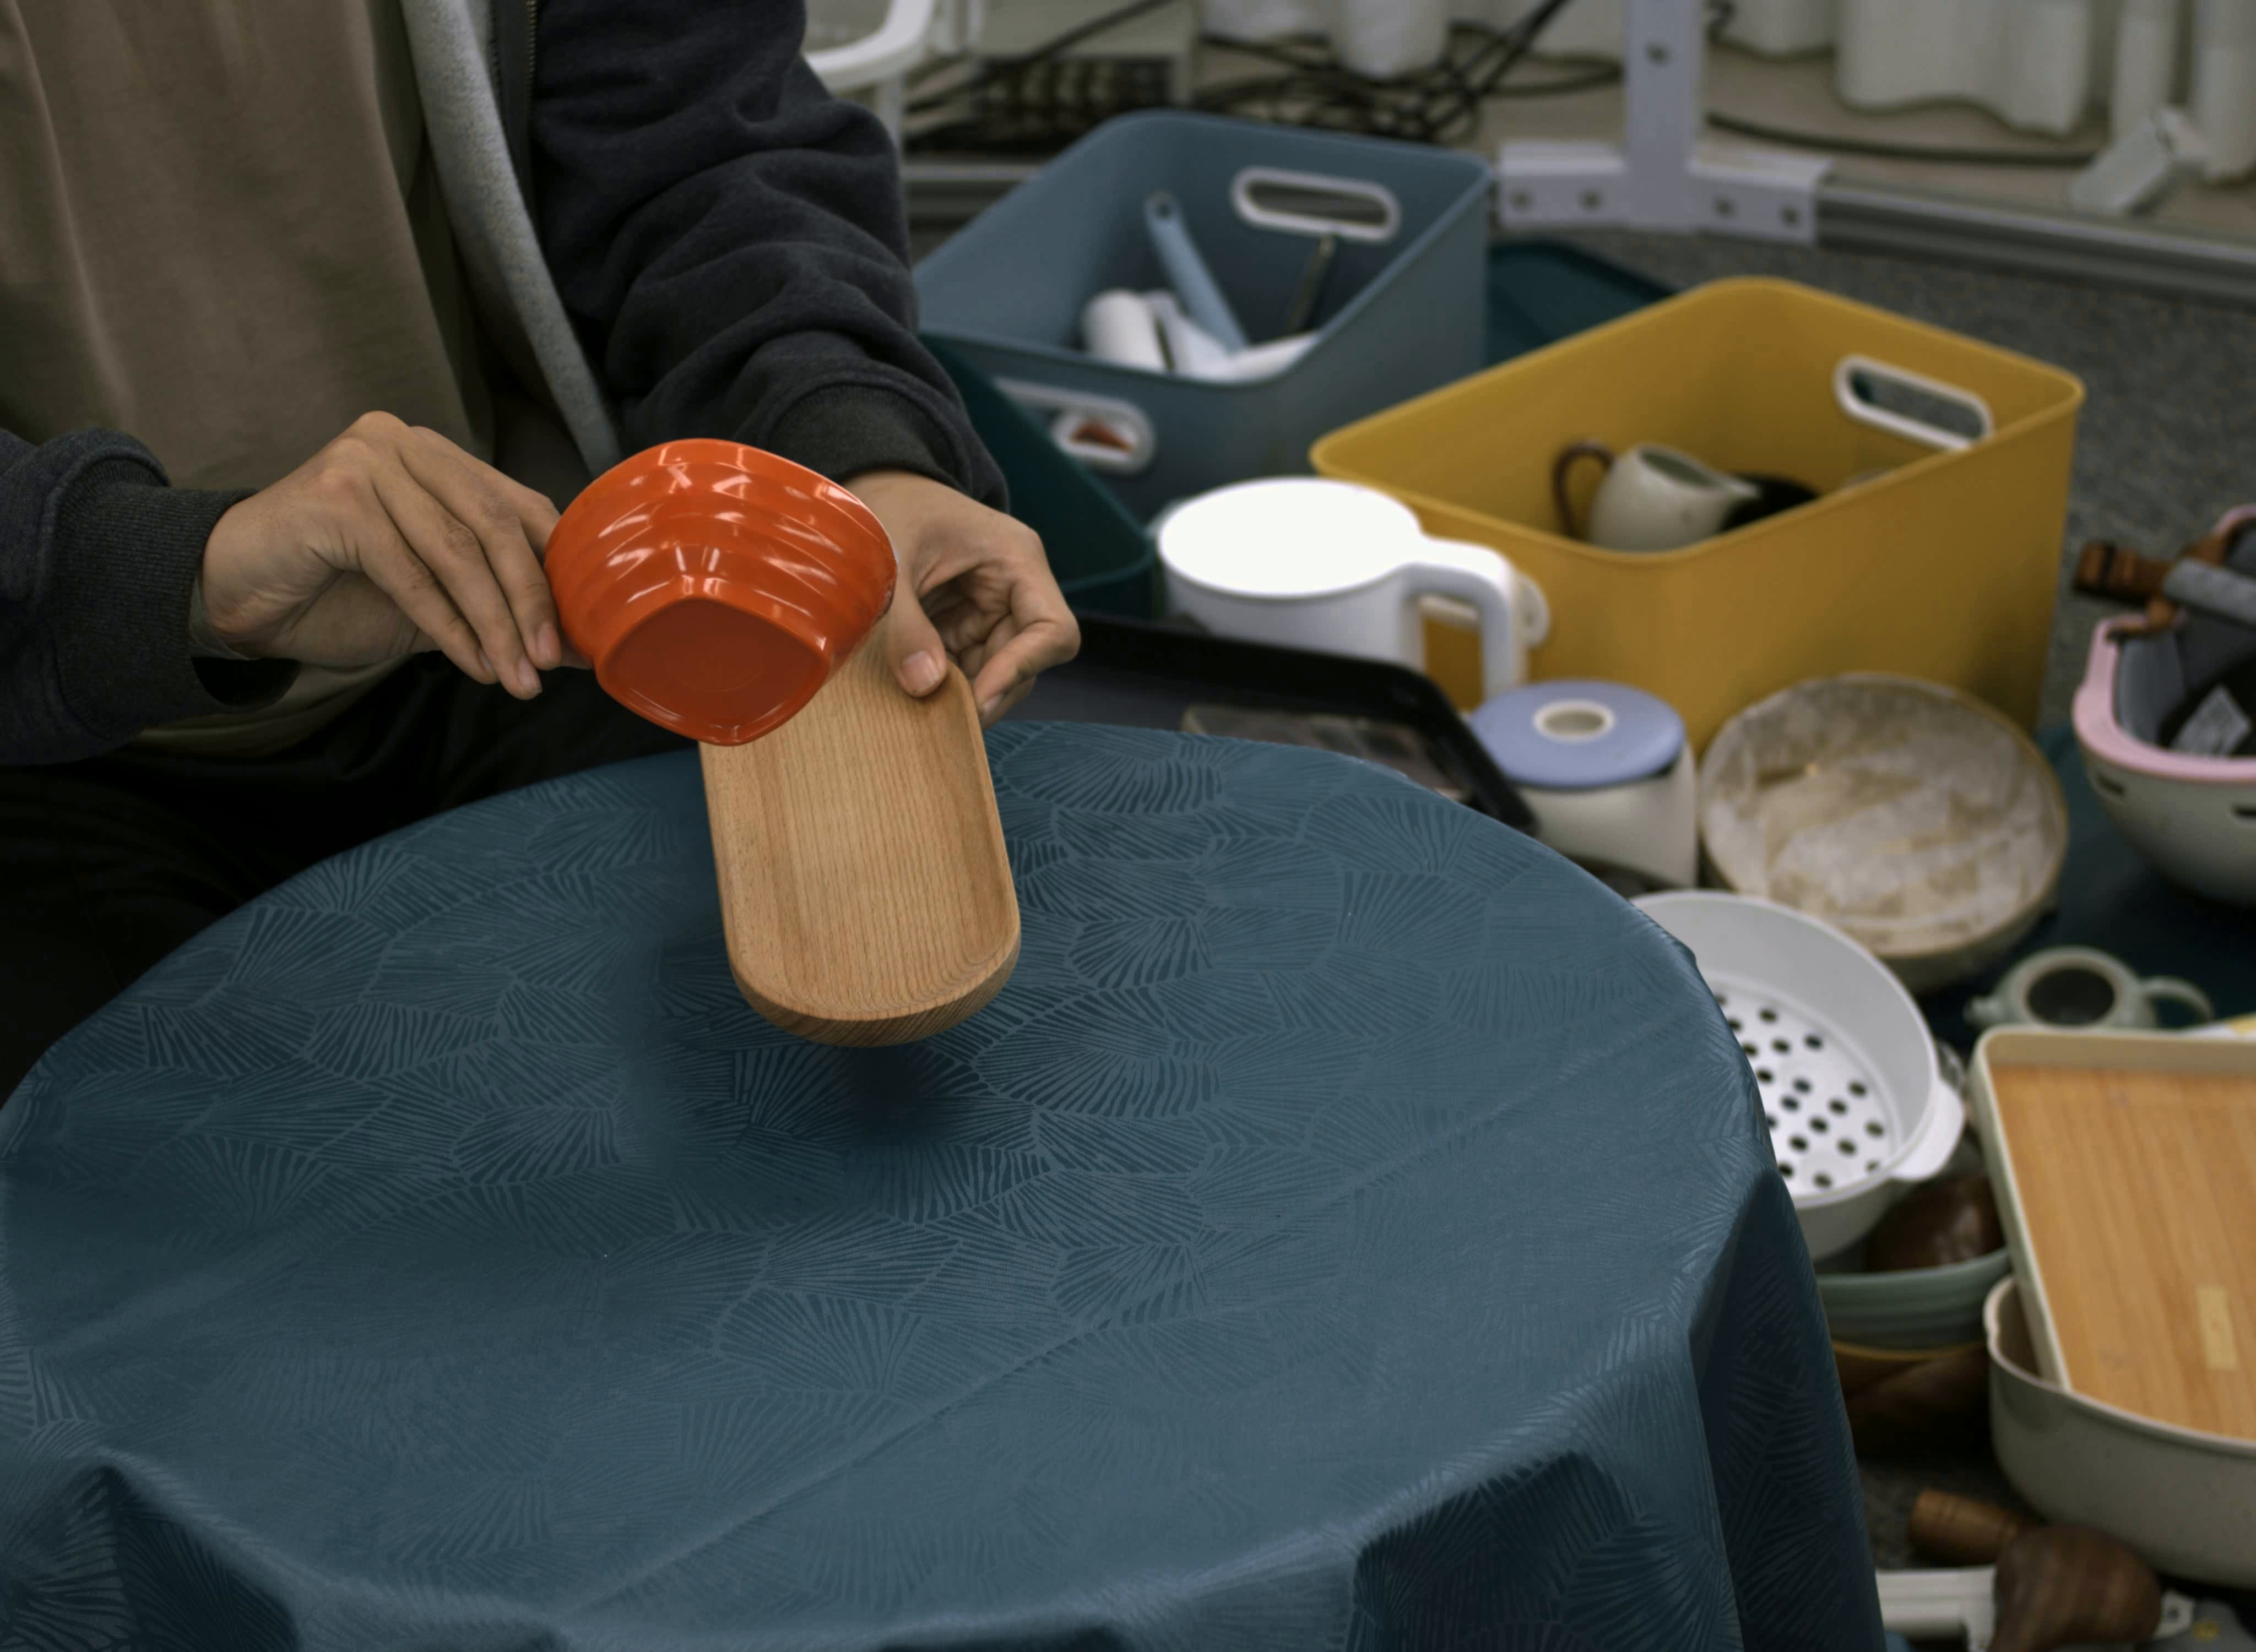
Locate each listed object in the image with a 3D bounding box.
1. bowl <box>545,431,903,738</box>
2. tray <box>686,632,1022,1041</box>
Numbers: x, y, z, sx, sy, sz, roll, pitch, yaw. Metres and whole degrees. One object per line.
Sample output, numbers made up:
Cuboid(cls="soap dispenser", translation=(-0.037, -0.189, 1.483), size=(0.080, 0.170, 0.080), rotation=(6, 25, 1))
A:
Cuboid(cls="bowl", translation=(-0.133, -0.071, 1.840), size=(0.118, 0.117, 0.052), rotation=(-1, 52, 2))
Cuboid(cls="tray", translation=(-0.097, 0.001, 1.959), size=(0.101, 0.020, 0.234), rotation=(-7, 34, -7))
